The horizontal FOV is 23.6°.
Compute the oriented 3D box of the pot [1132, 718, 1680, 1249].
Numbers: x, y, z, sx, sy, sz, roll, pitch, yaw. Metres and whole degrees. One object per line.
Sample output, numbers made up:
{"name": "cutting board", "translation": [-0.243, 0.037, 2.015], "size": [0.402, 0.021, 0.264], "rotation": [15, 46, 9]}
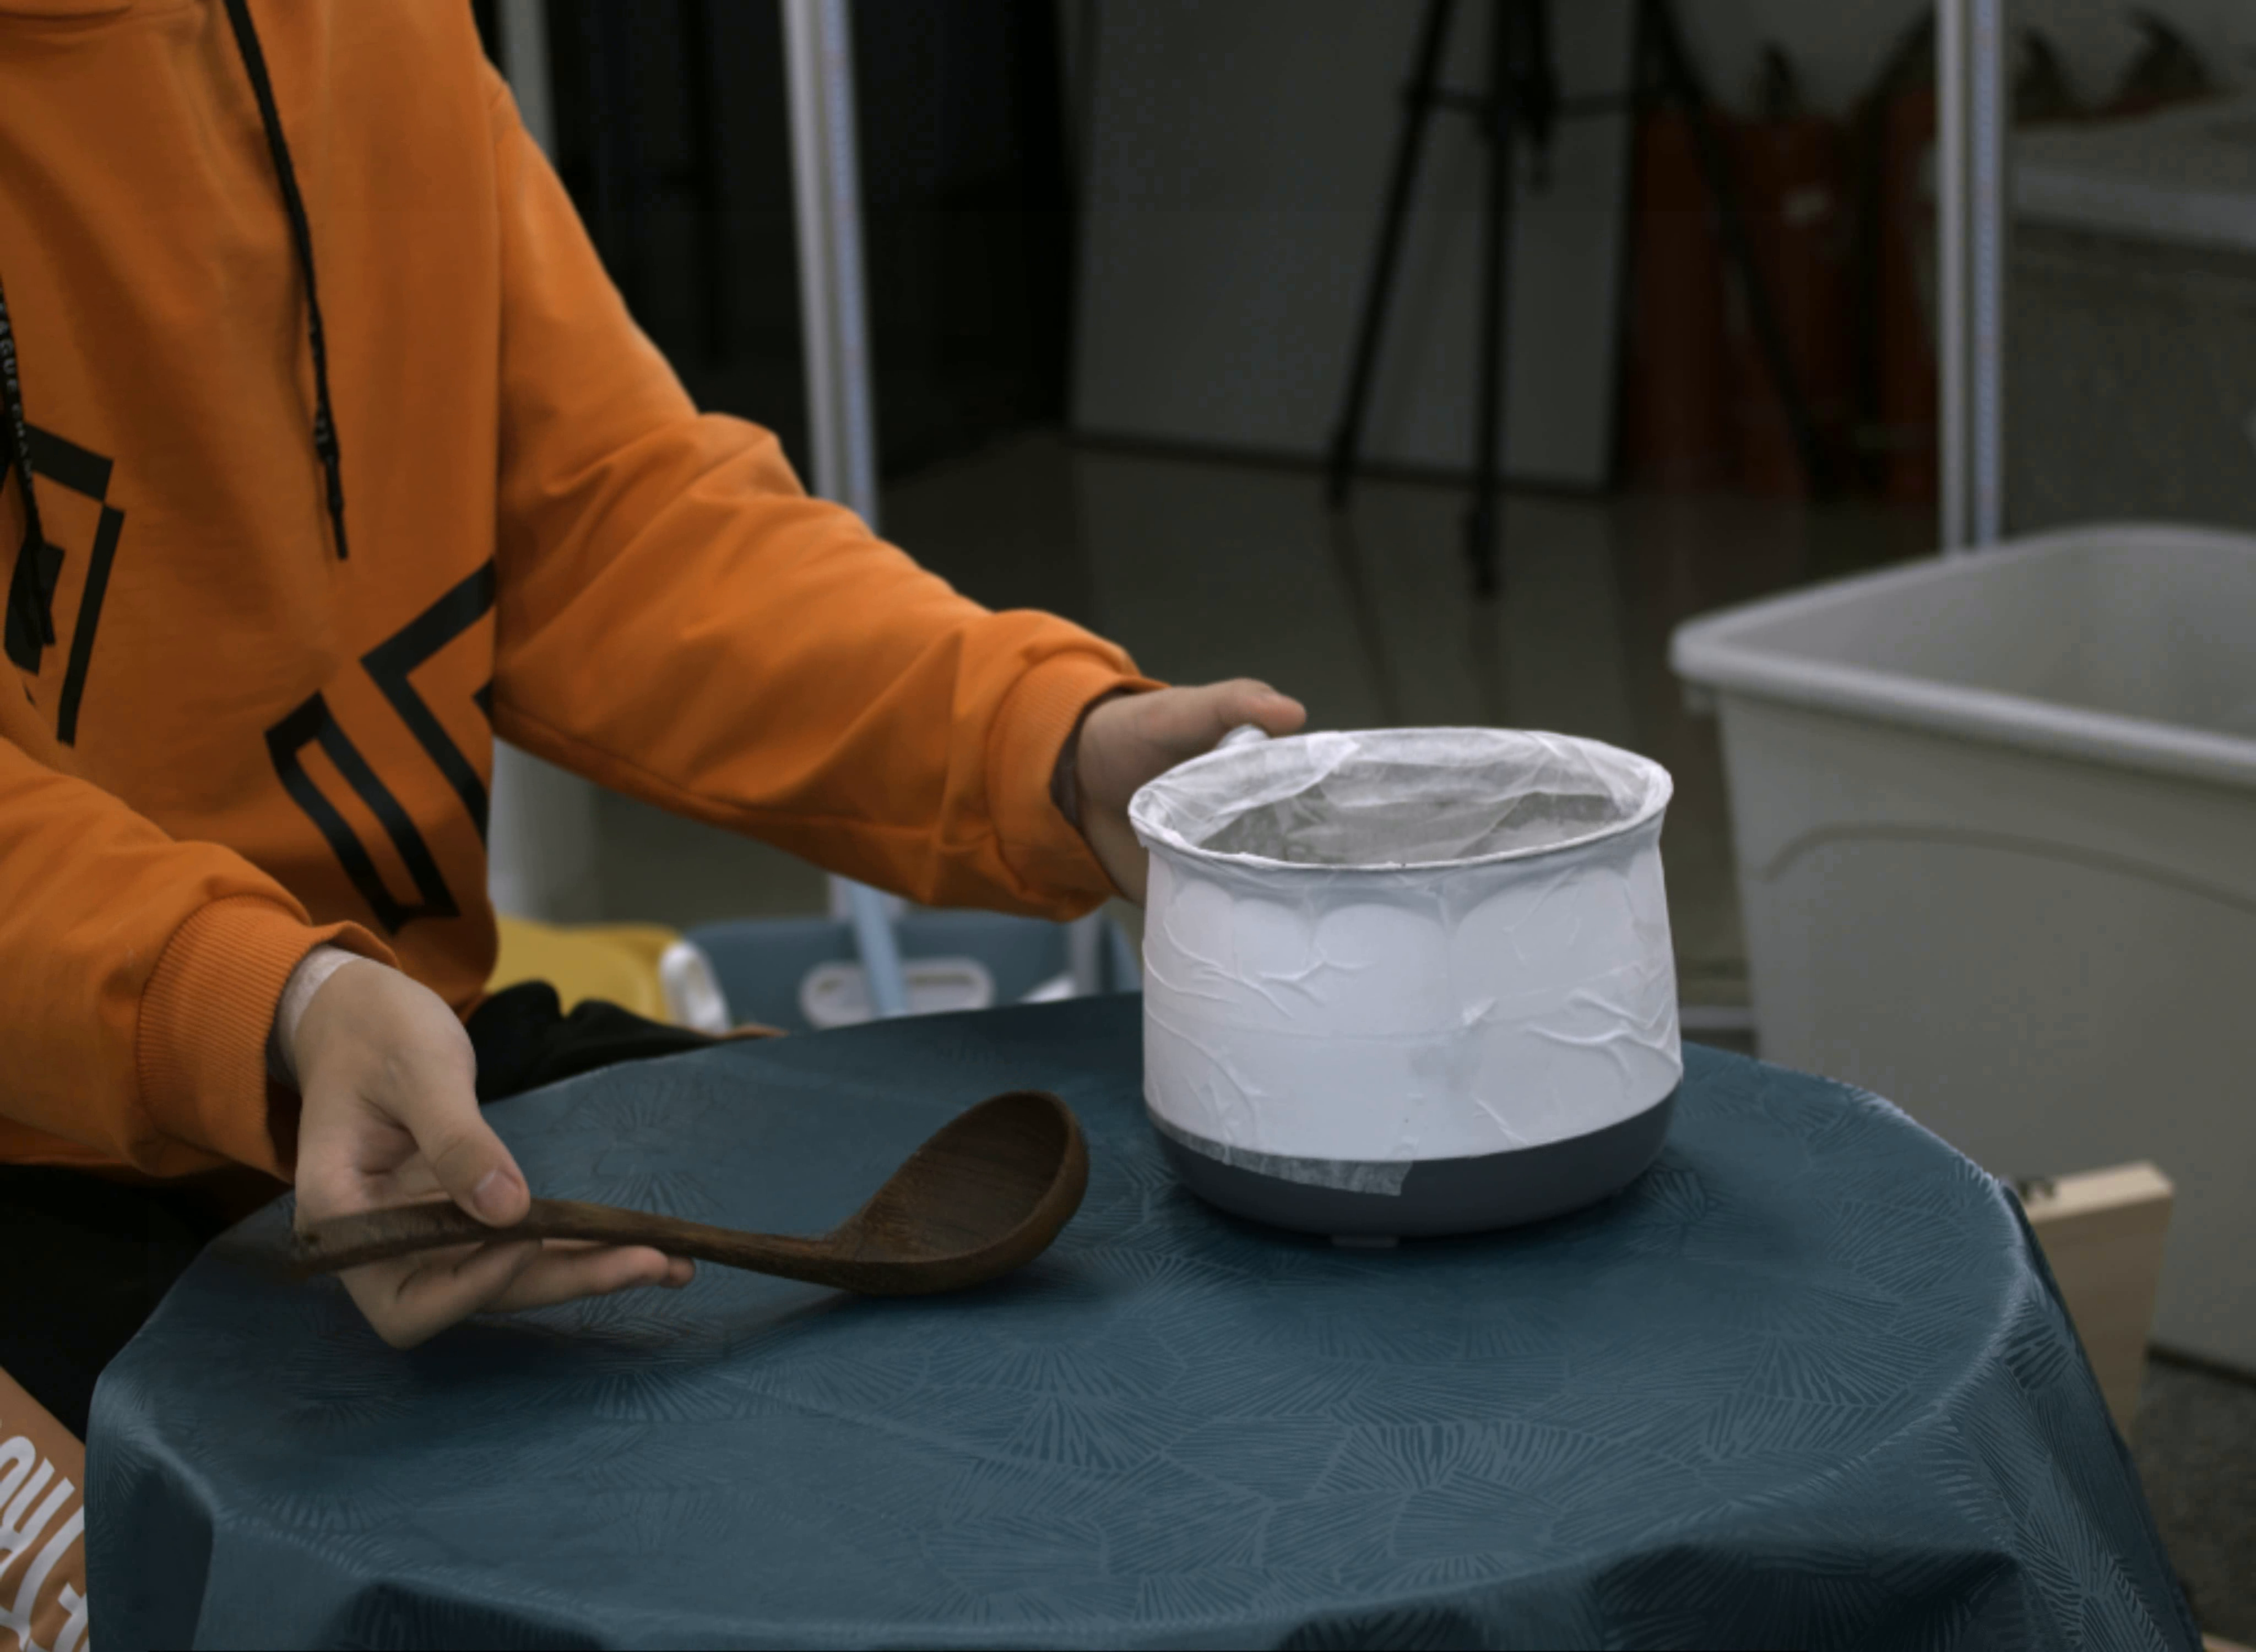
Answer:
{"name": "pot", "translation": [0.077, 0.044, 1.769], "size": [0.175, 0.138, 0.236], "rotation": [-10, 15, -28]}

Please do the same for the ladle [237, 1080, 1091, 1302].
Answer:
{"name": "ladle", "translation": [-0.136, 0.108, 1.643], "size": [0.268, 0.072, 0.077], "rotation": [4, 9, -29]}
